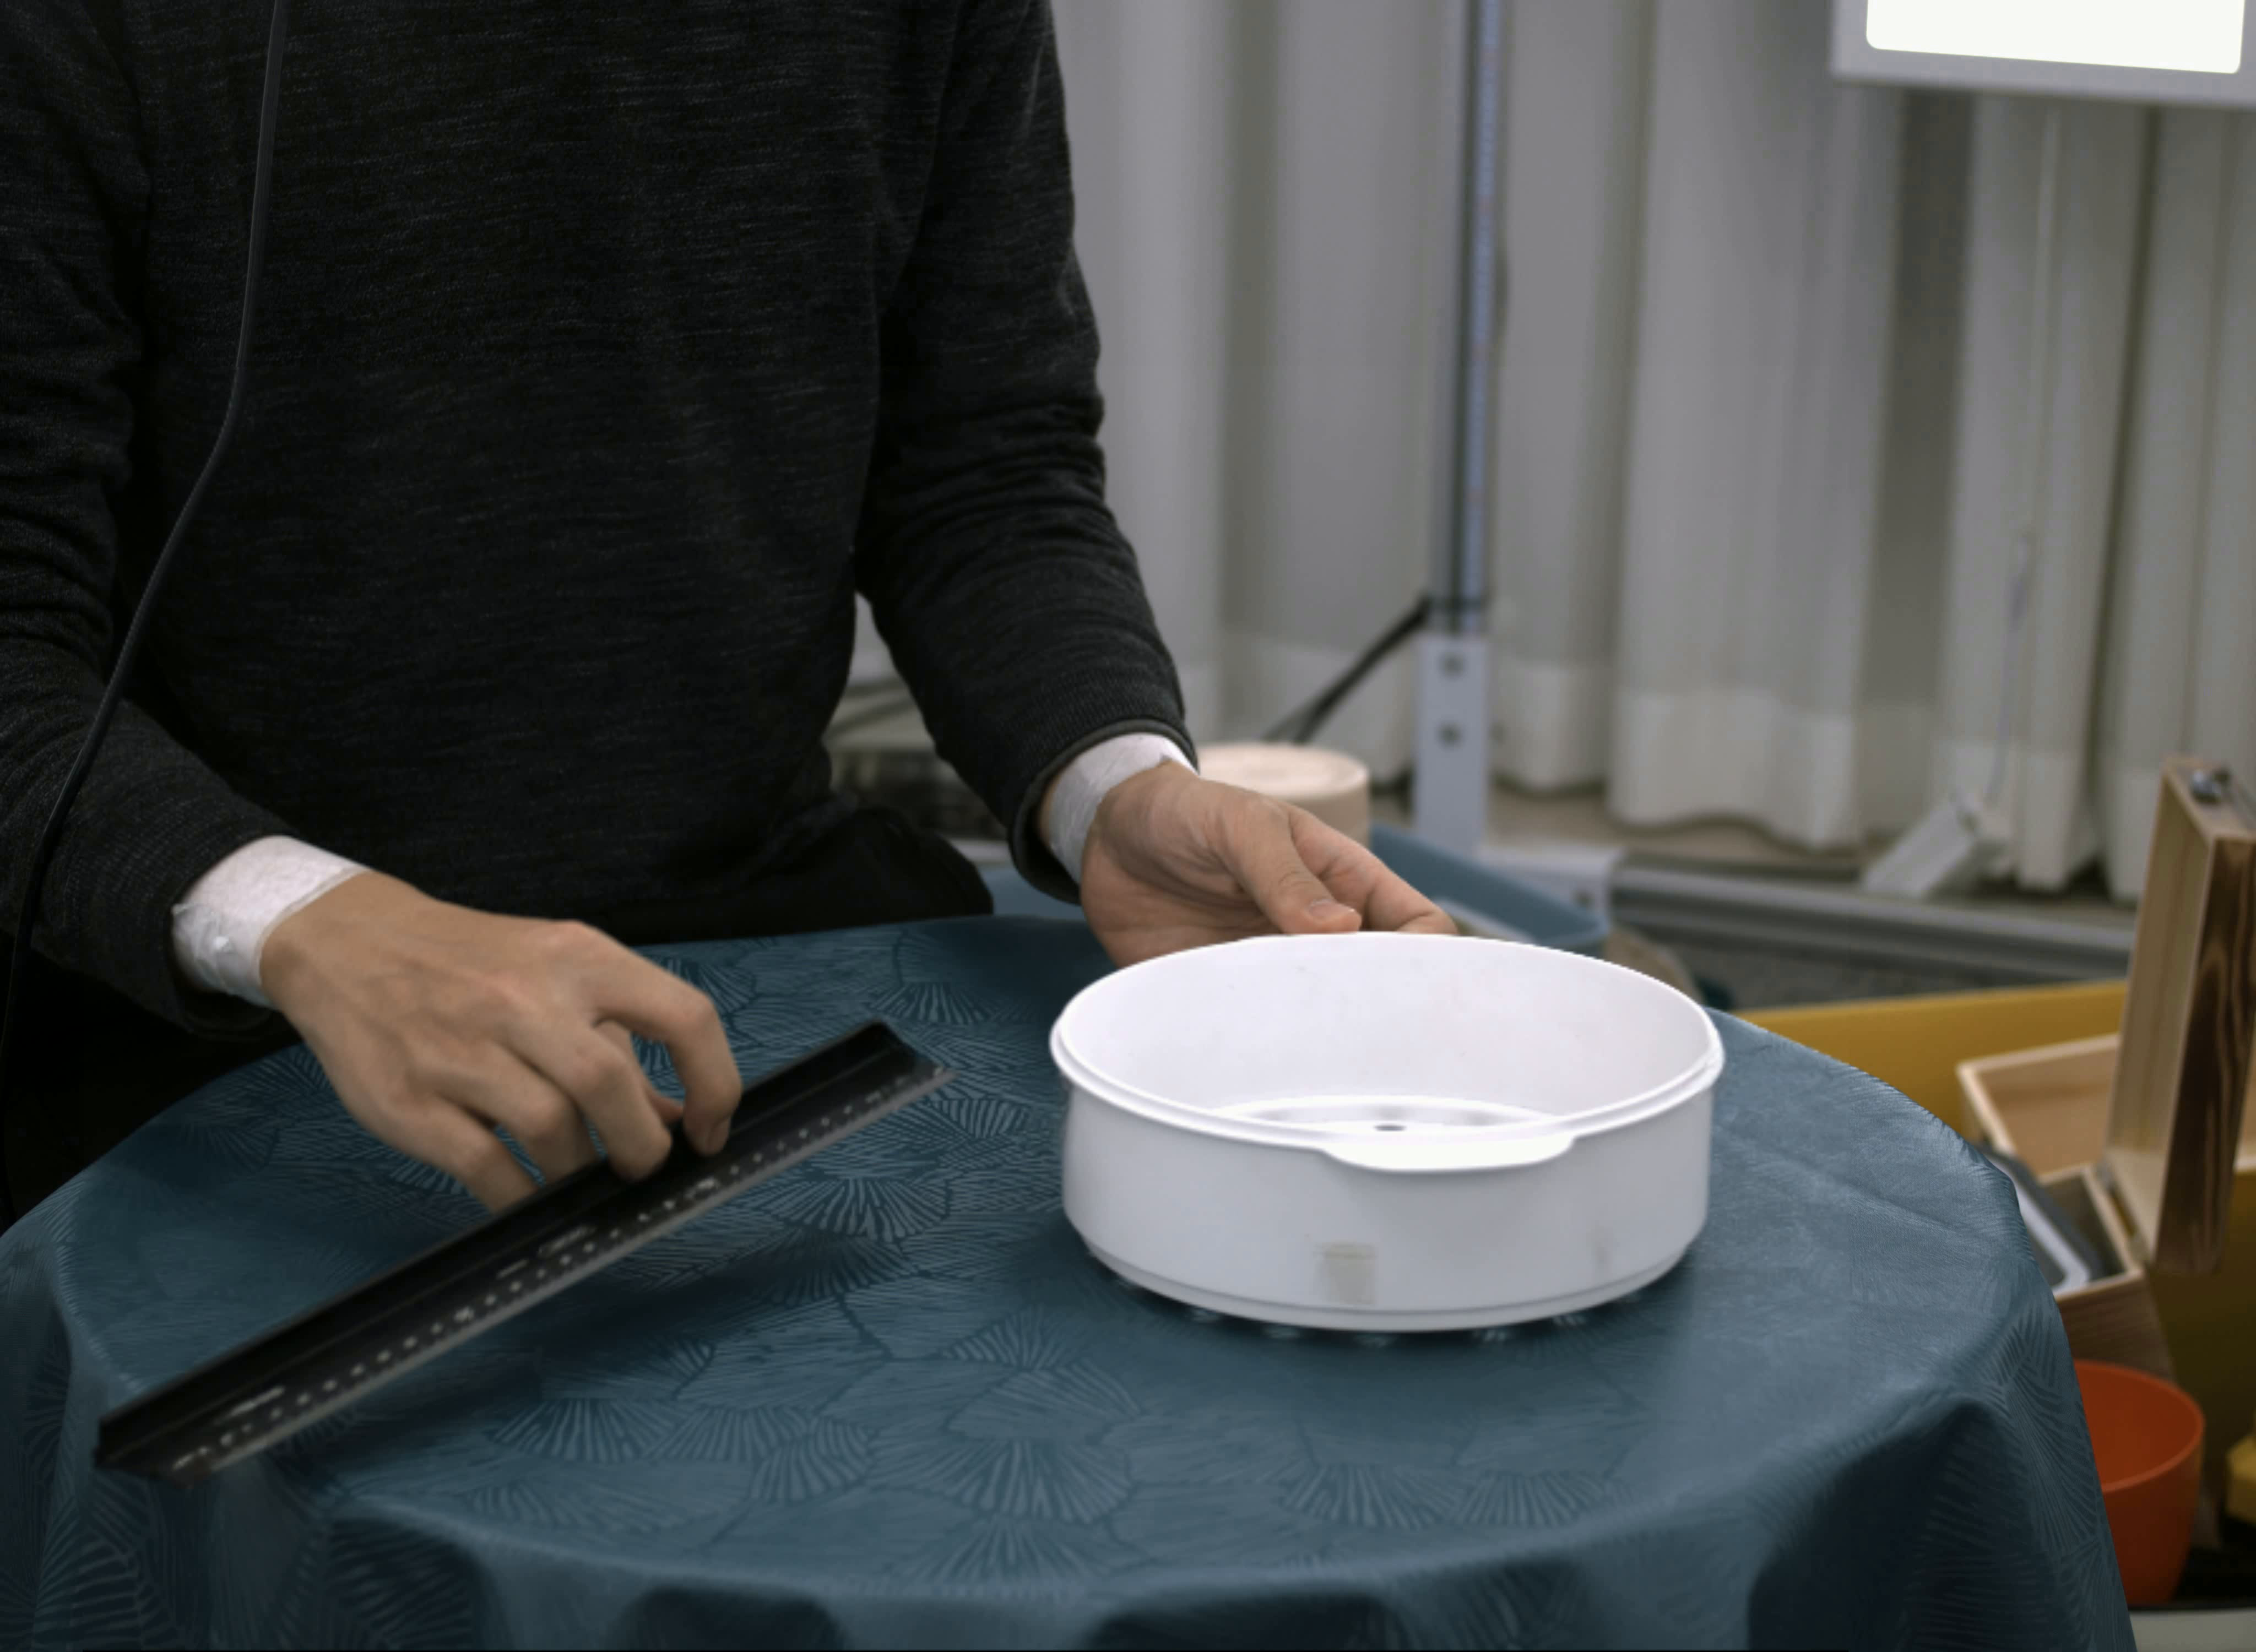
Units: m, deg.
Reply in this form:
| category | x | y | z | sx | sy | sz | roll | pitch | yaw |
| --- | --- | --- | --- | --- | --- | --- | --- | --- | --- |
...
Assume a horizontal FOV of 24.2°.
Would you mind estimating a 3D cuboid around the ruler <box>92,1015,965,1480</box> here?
| category | x | y | z | sx | sy | sz | roll | pitch | yaw |
| --- | --- | --- | --- | --- | --- | --- | --- | --- | --- |
| ruler | -0.160 | 0.112 | 1.469 | 0.039 | 0.017 | 0.313 | 11 | 25 | 38 |

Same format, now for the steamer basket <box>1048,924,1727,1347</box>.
| category | x | y | z | sx | sy | sz | roll | pitch | yaw |
| --- | --- | --- | --- | --- | --- | --- | --- | --- | --- |
| steamer basket | 0.076 | 0.092 | 1.569 | 0.202 | 0.070 | 0.228 | -2 | 18 | -8 |
